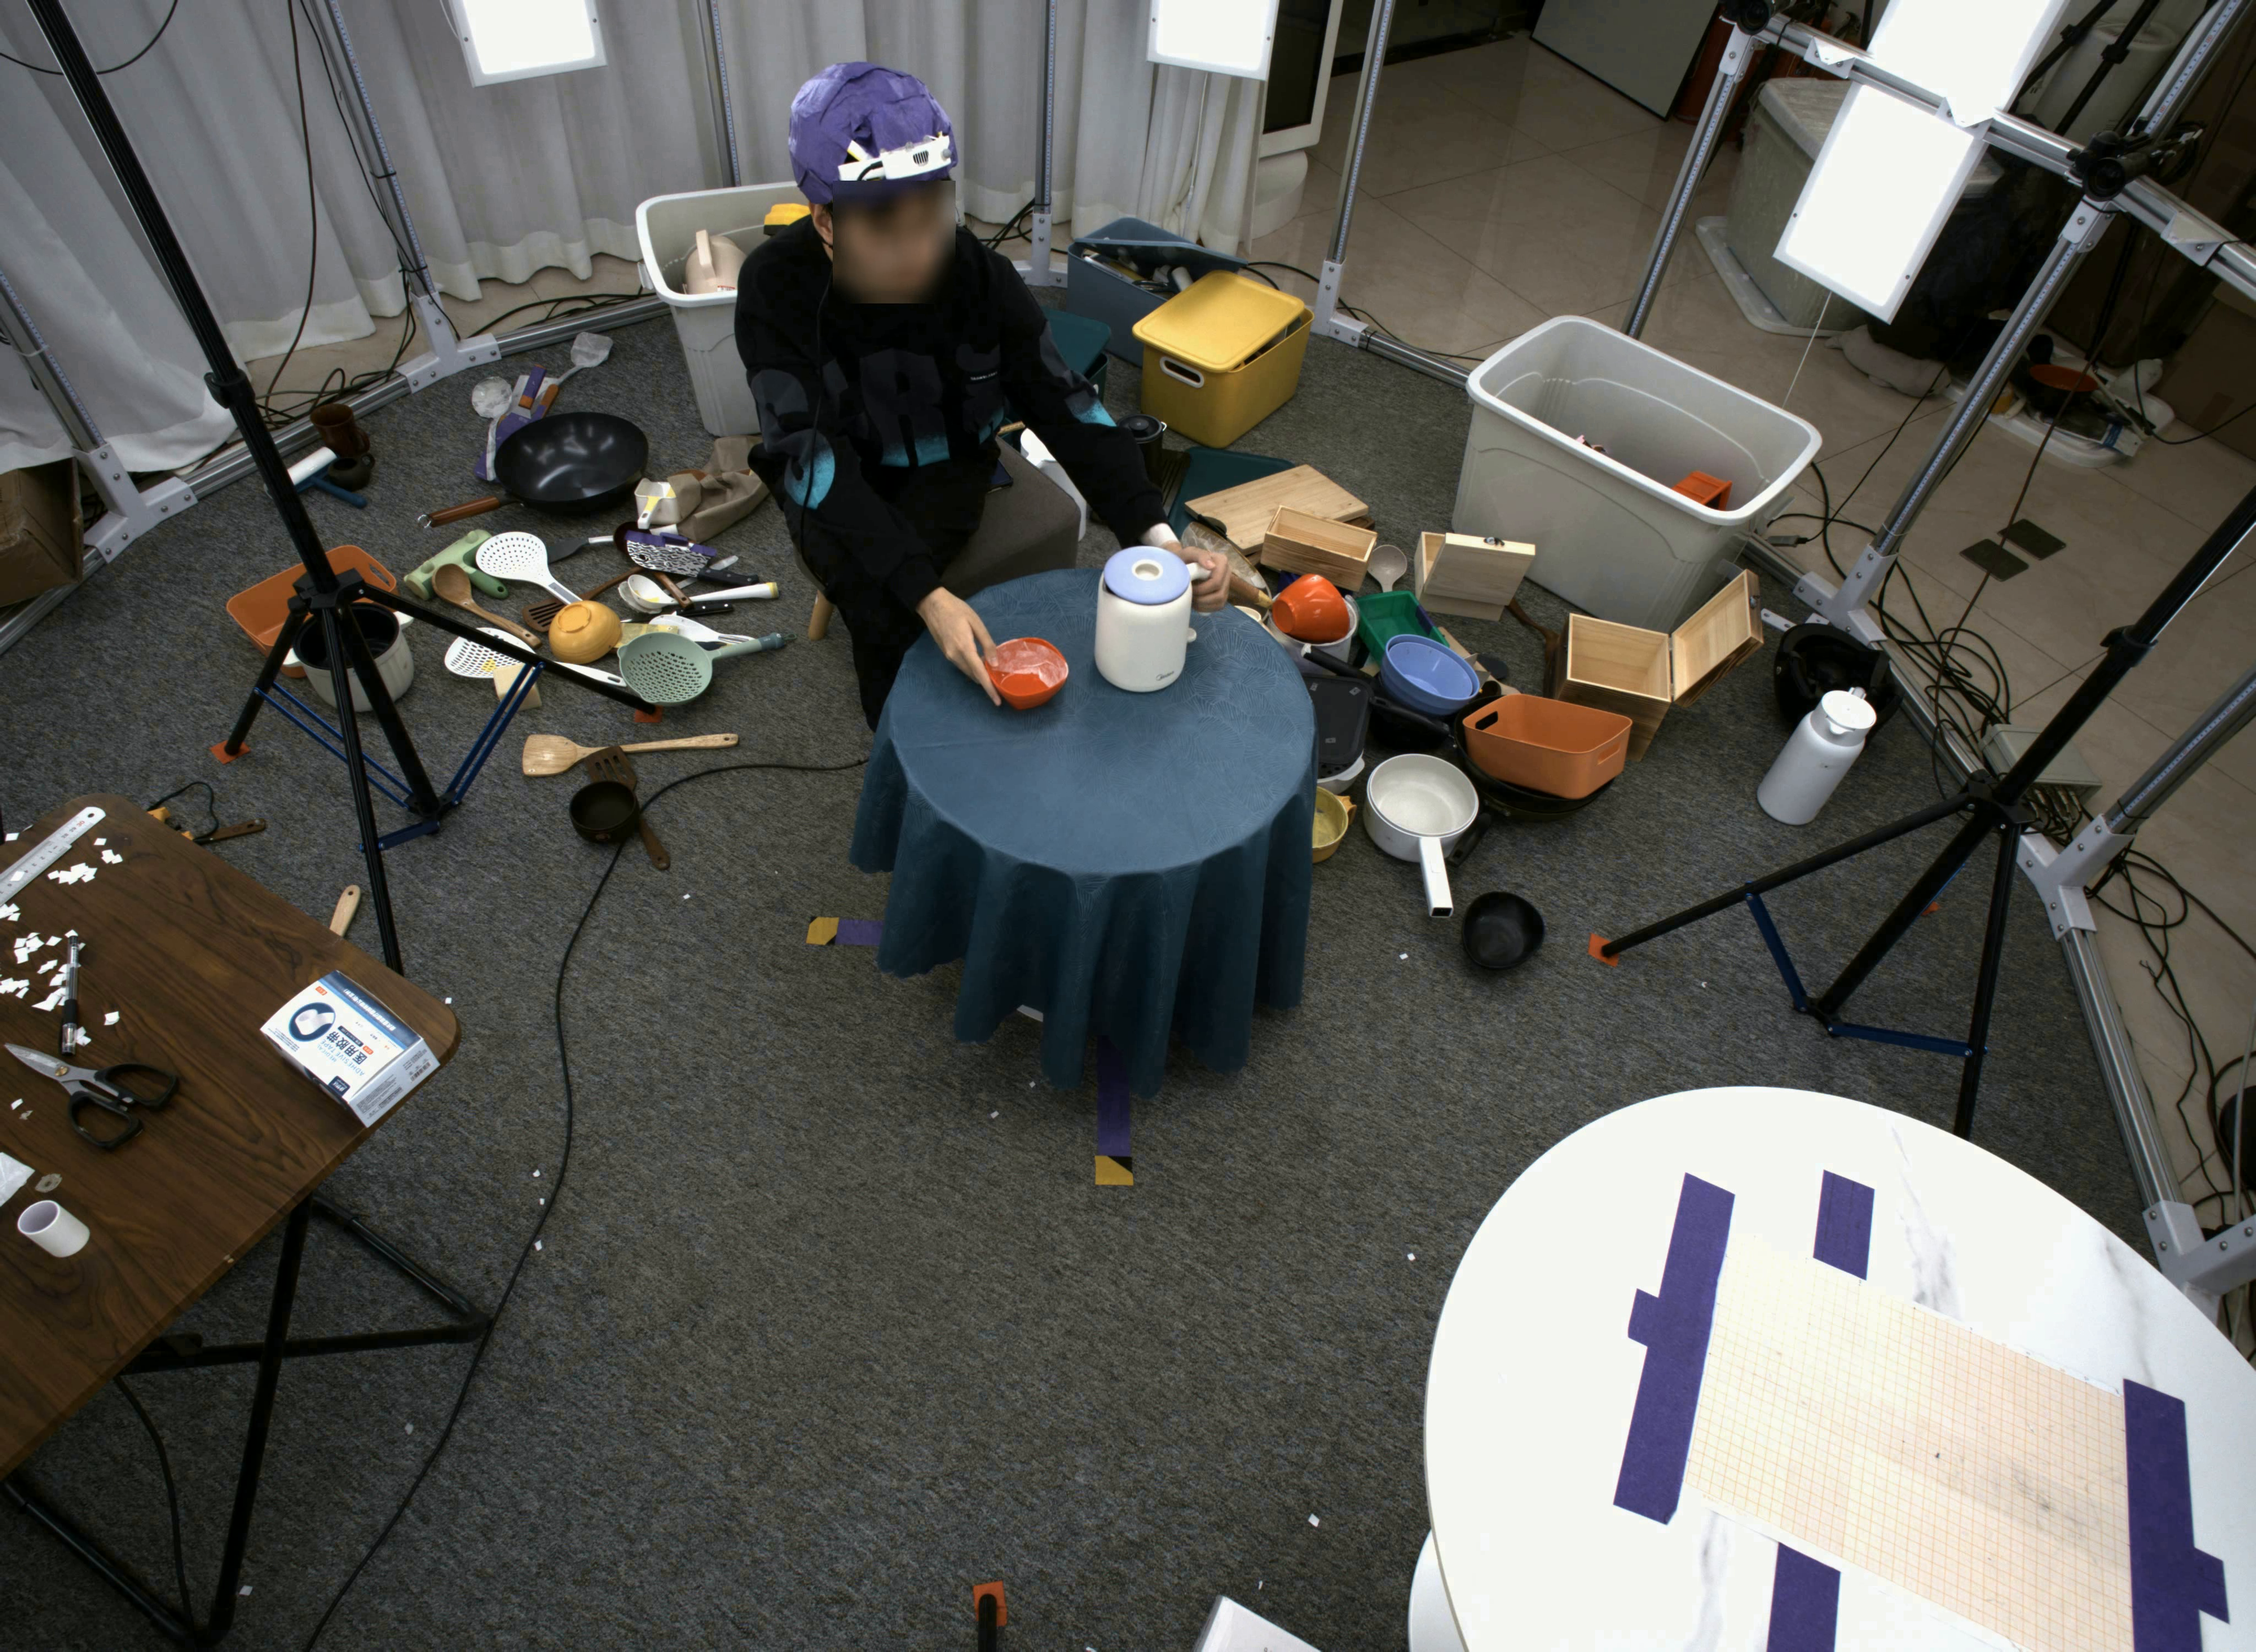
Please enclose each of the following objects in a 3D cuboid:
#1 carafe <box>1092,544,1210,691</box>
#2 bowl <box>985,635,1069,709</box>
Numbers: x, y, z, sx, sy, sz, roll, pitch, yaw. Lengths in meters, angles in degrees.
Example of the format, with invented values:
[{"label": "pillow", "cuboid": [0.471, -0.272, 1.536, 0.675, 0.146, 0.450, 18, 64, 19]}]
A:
[{"label": "carafe", "cuboid": [0.040, -0.302, 1.823, 0.192, 0.178, 0.135, -24, 56, -25]}, {"label": "bowl", "cuboid": [-0.142, -0.210, 1.806, 0.119, 0.050, 0.122, 1, 52, -2]}]
